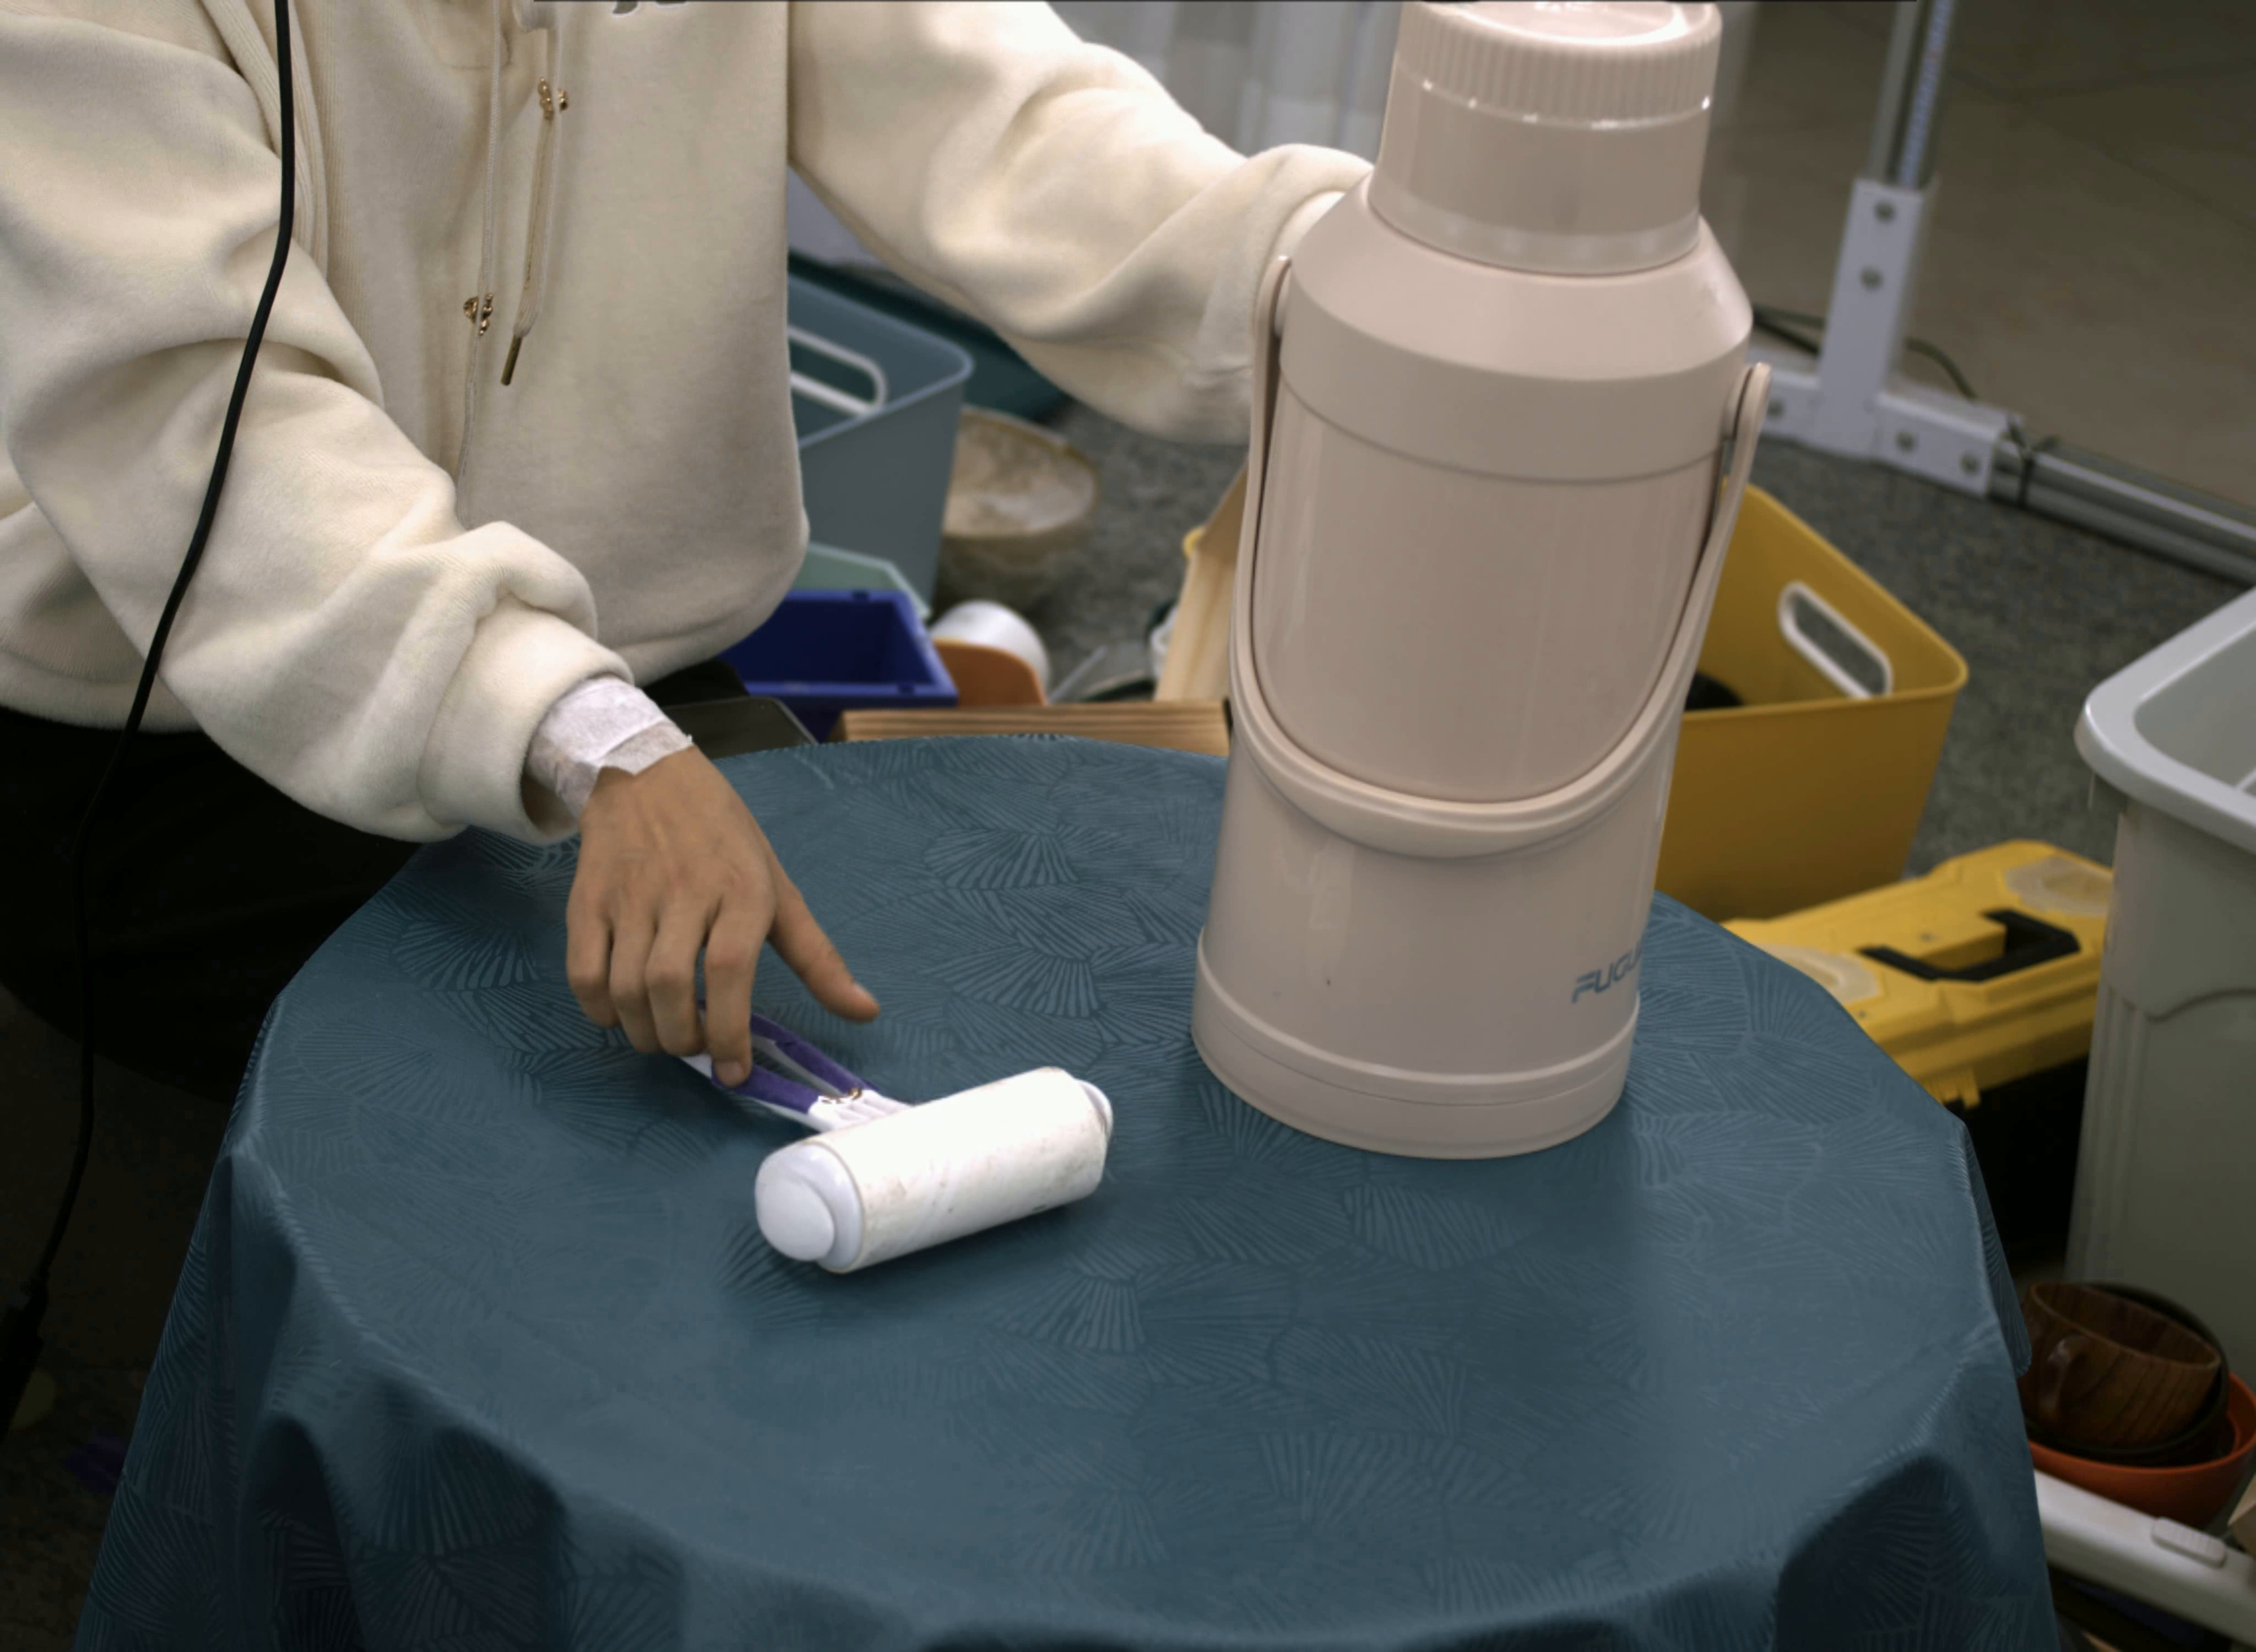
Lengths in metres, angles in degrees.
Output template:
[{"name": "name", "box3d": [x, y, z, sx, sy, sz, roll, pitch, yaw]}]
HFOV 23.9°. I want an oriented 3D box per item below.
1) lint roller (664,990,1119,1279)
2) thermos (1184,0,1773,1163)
[{"name": "lint roller", "box3d": [-0.099, 0.085, 1.803, 0.132, 0.050, 0.182, -14, 36, -34]}, {"name": "thermos", "box3d": [0.126, -0.100, 1.834, 0.175, 0.405, 0.207, 13, 27, 14]}]
